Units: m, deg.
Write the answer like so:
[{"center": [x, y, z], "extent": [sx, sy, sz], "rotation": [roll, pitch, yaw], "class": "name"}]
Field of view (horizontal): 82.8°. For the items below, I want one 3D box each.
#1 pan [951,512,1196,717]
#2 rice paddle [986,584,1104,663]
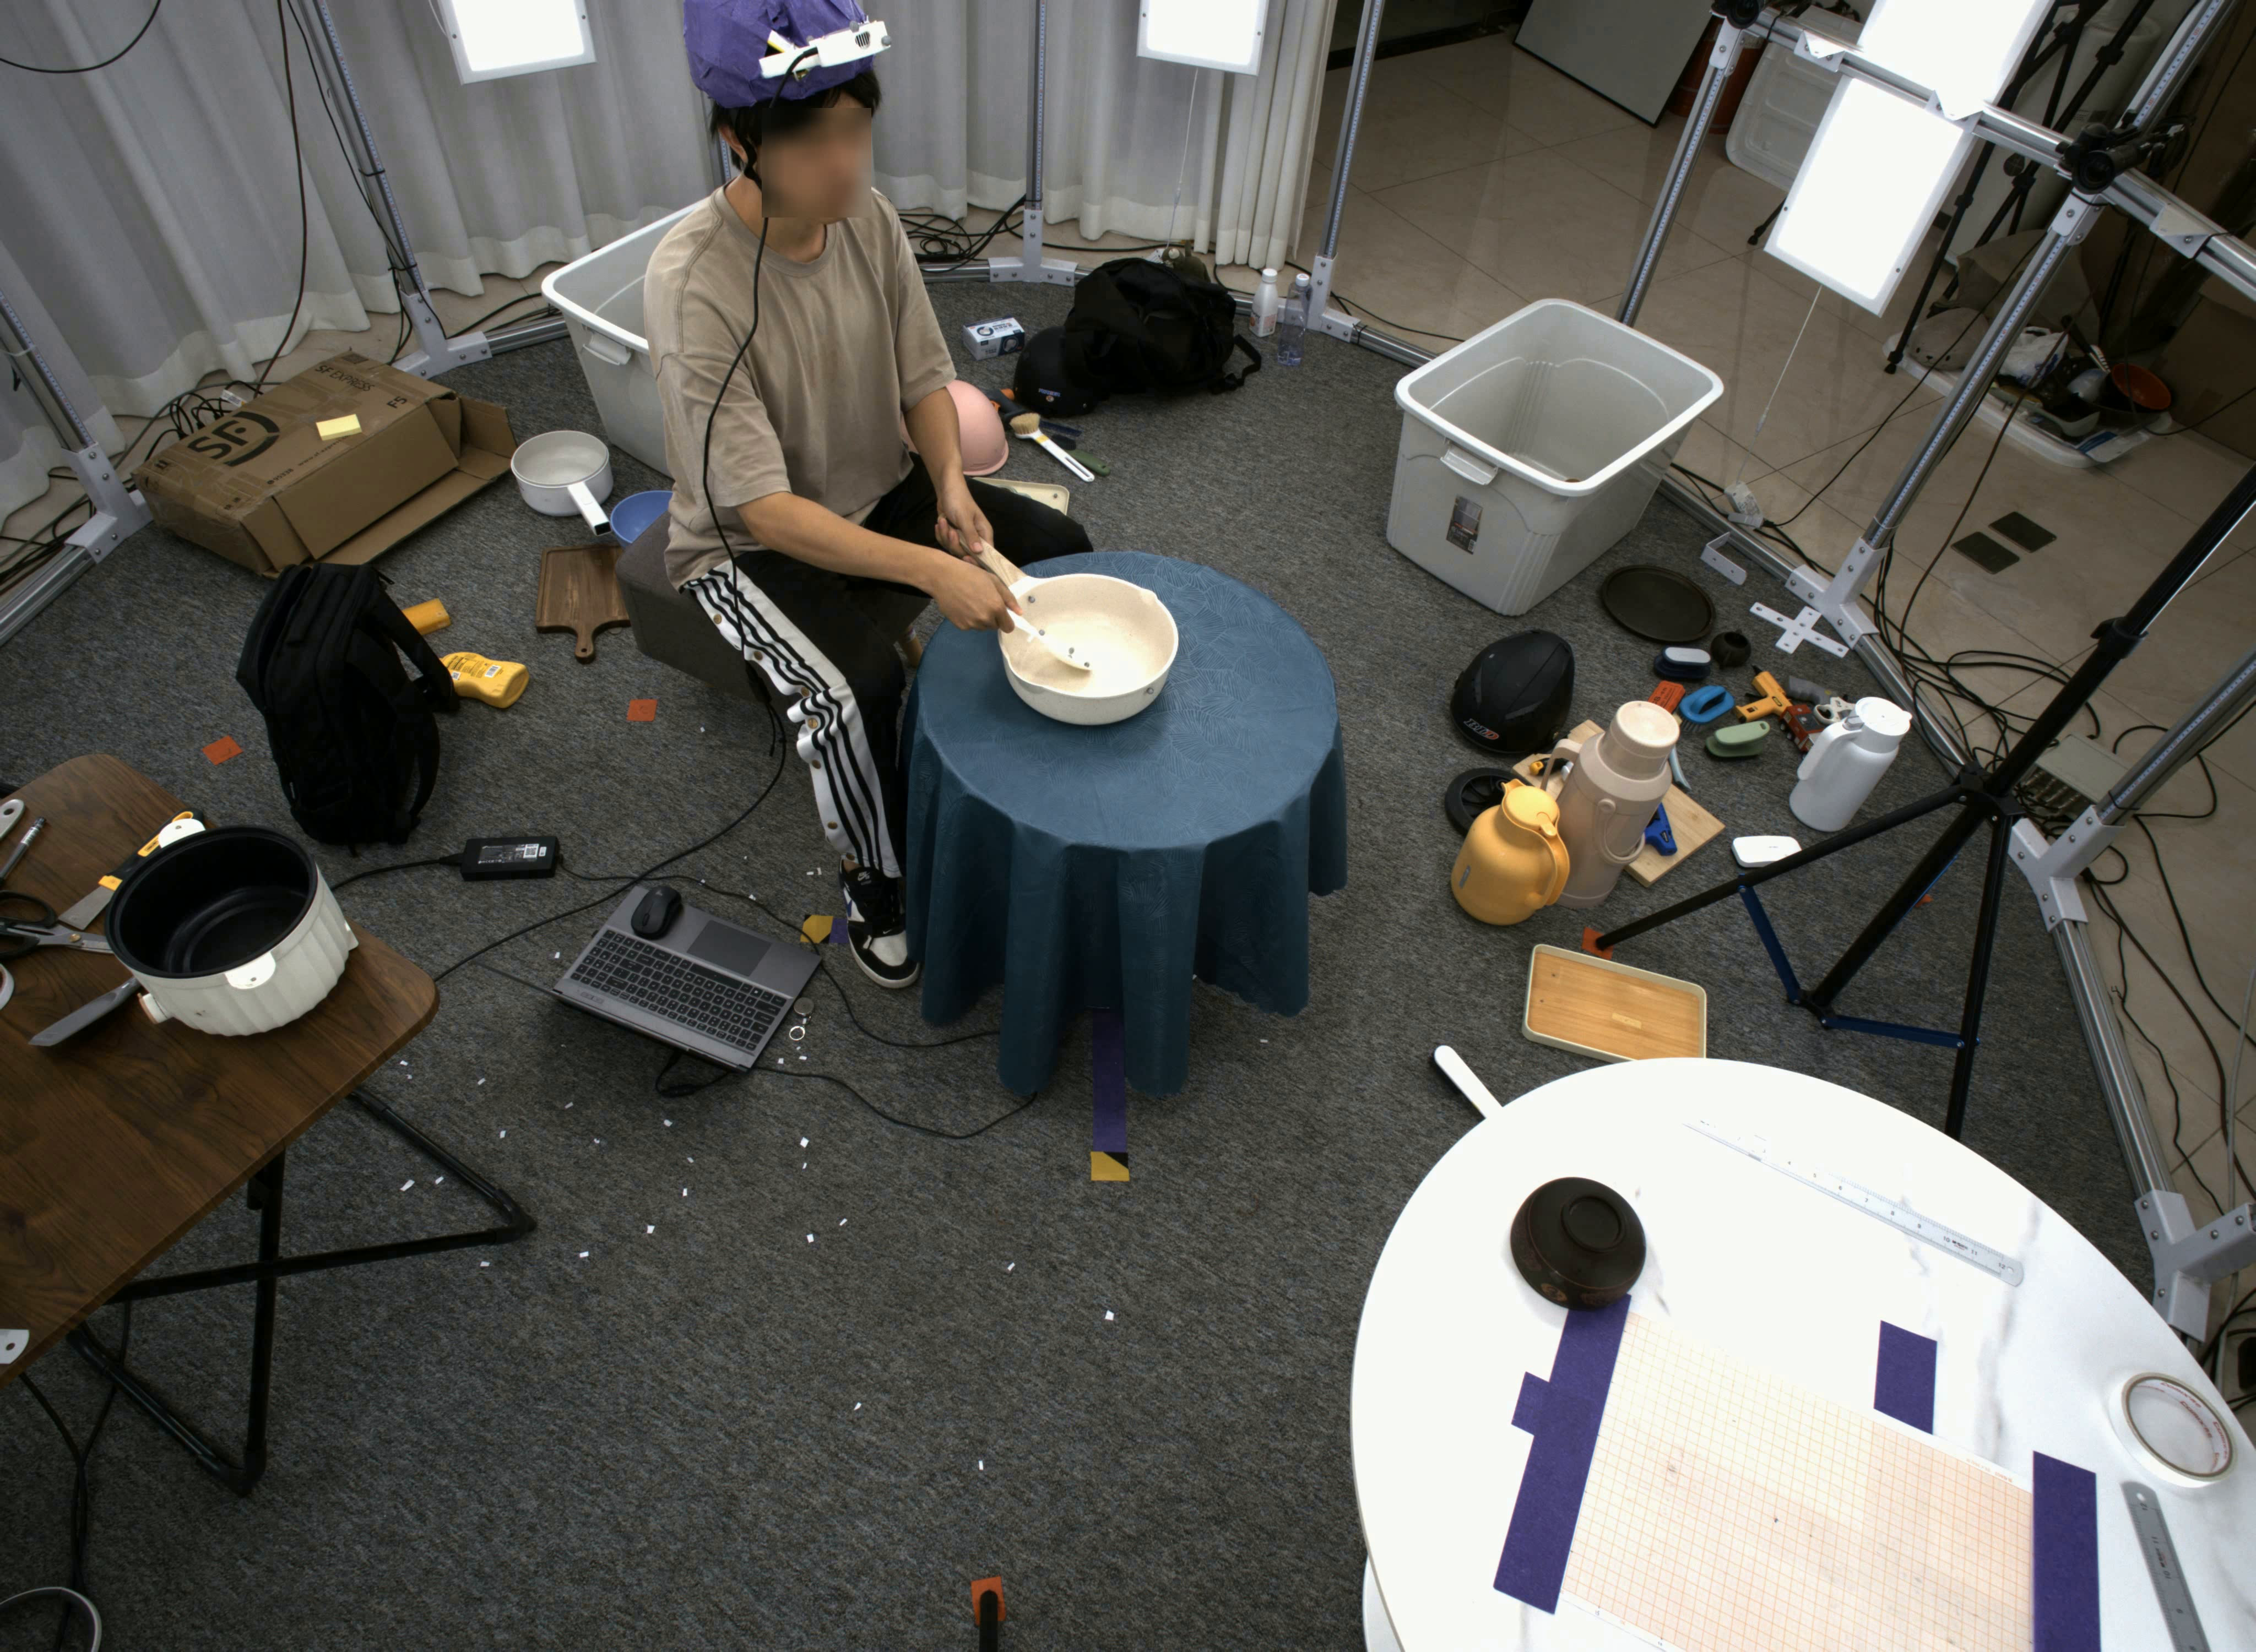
[{"center": [-0.098, -0.312, 1.855], "extent": [0.441, 0.099, 0.266], "rotation": [37, 57, 25], "class": "pan"}, {"center": [-0.108, -0.277, 1.787], "extent": [0.202, 0.029, 0.070], "rotation": [26, 14, -37], "class": "rice paddle"}]
